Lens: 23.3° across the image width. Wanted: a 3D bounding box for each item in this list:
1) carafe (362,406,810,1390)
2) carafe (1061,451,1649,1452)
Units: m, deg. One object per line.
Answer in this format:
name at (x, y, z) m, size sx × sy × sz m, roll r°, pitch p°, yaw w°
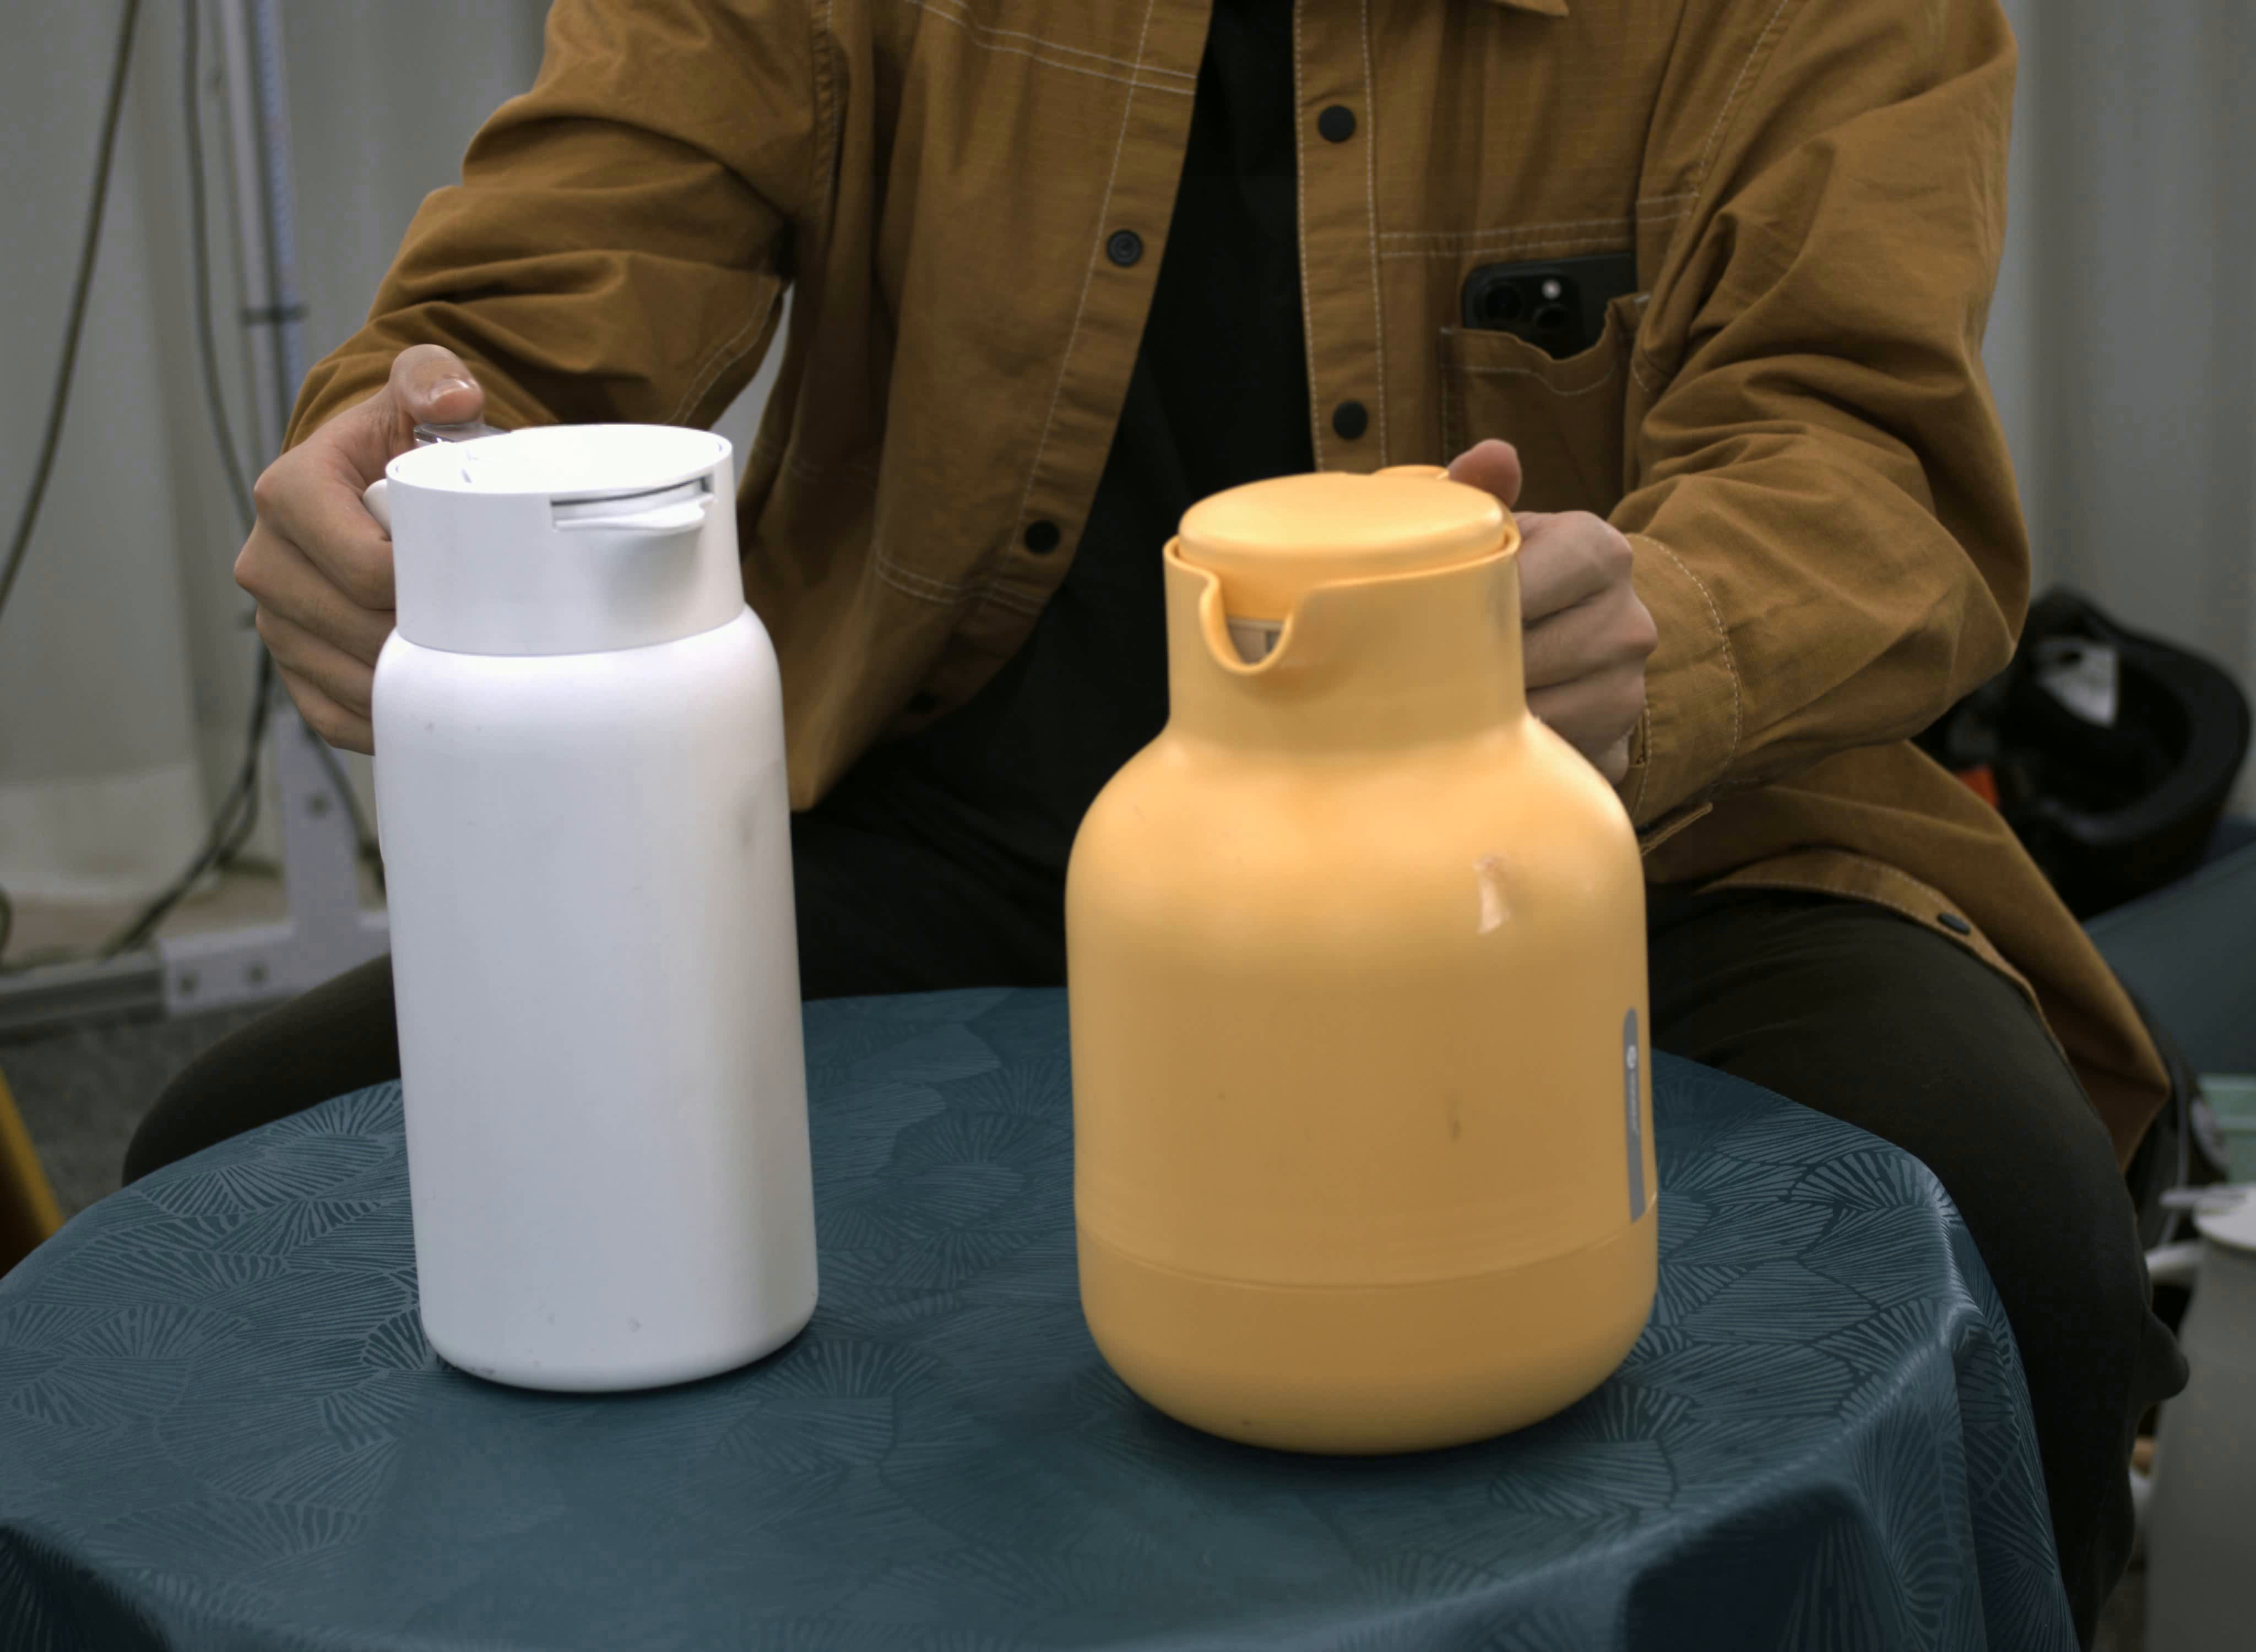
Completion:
carafe at (-0.166, 0.017, 1.594) m, size 0.123 × 0.267 × 0.174 m, roll -14°, pitch 18°, yaw -33°
carafe at (0.071, 0.026, 1.525) m, size 0.164 × 0.259 × 0.203 m, roll 7°, pitch 18°, yaw 25°
